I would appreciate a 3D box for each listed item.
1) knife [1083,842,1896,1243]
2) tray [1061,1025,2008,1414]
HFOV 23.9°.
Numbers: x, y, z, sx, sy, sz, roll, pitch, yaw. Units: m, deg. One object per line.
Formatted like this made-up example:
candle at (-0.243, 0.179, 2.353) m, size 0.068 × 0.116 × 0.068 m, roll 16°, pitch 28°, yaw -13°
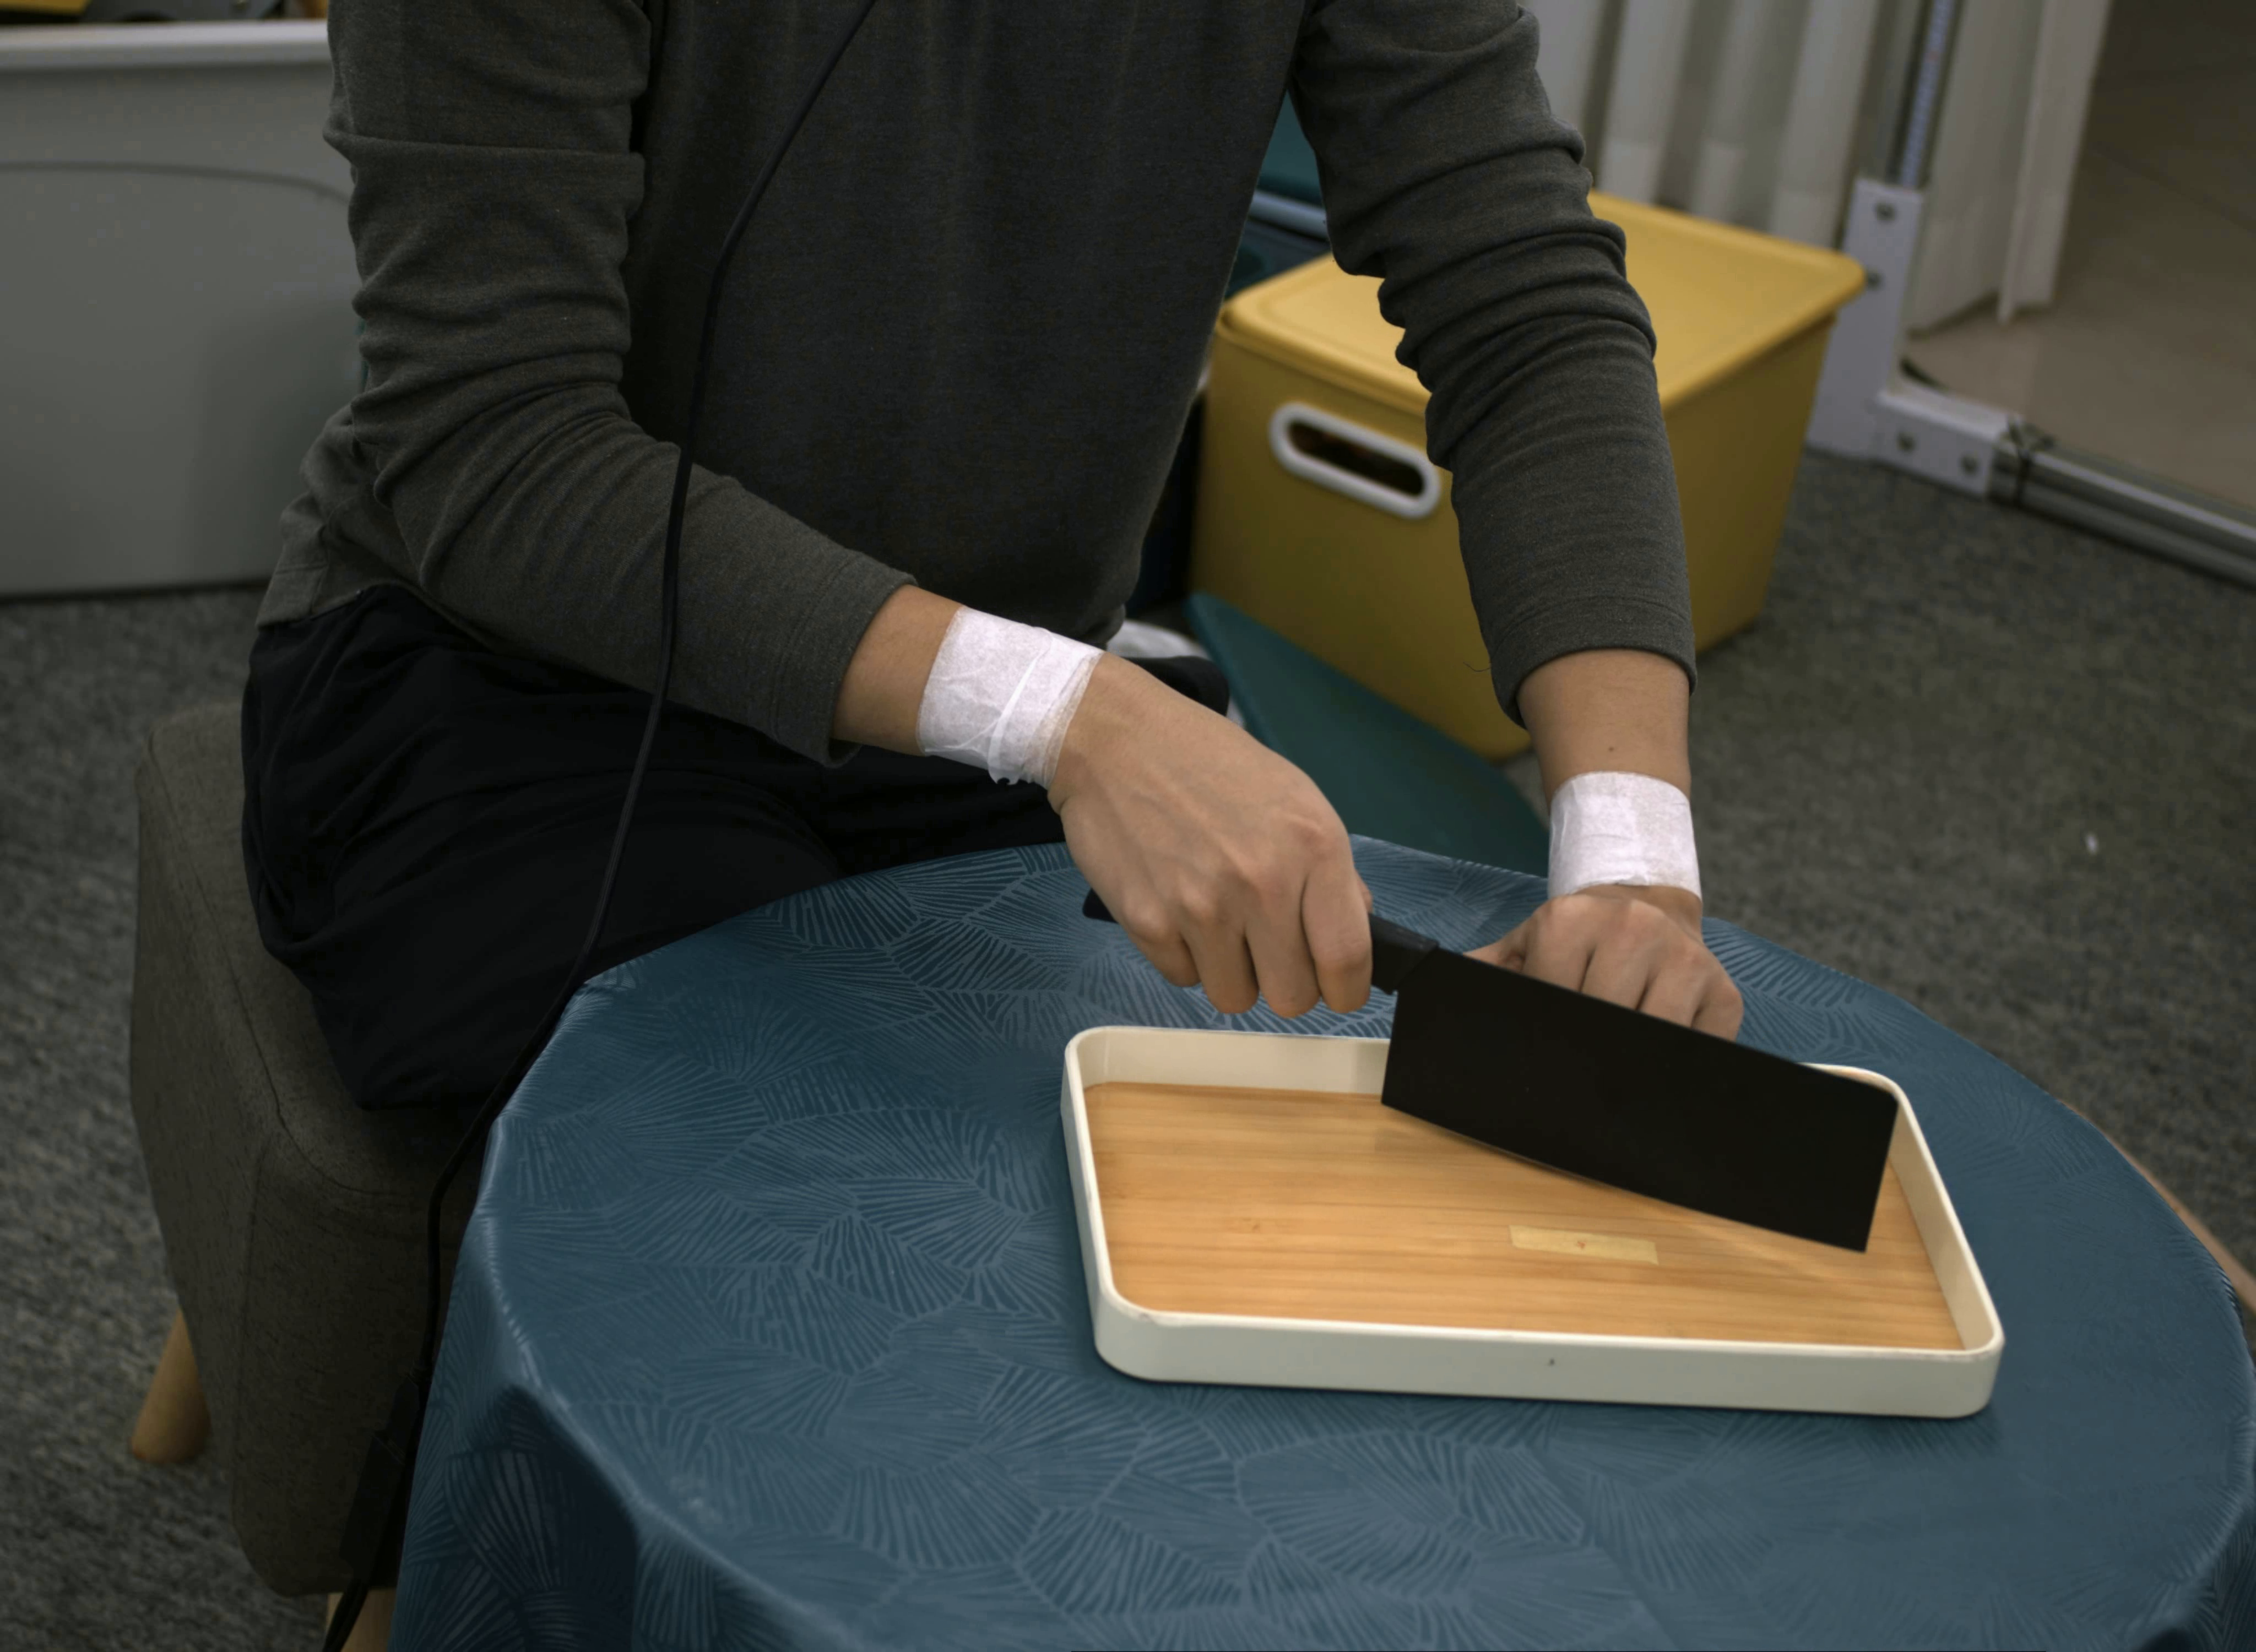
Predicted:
knife at (0.120, 0.070, 1.828) m, size 0.303 × 0.081 × 0.021 m, roll 22°, pitch 25°, yaw 20°
tray at (0.131, 0.131, 1.791) m, size 0.299 × 0.027 × 0.193 m, roll 3°, pitch 27°, yaw -6°
